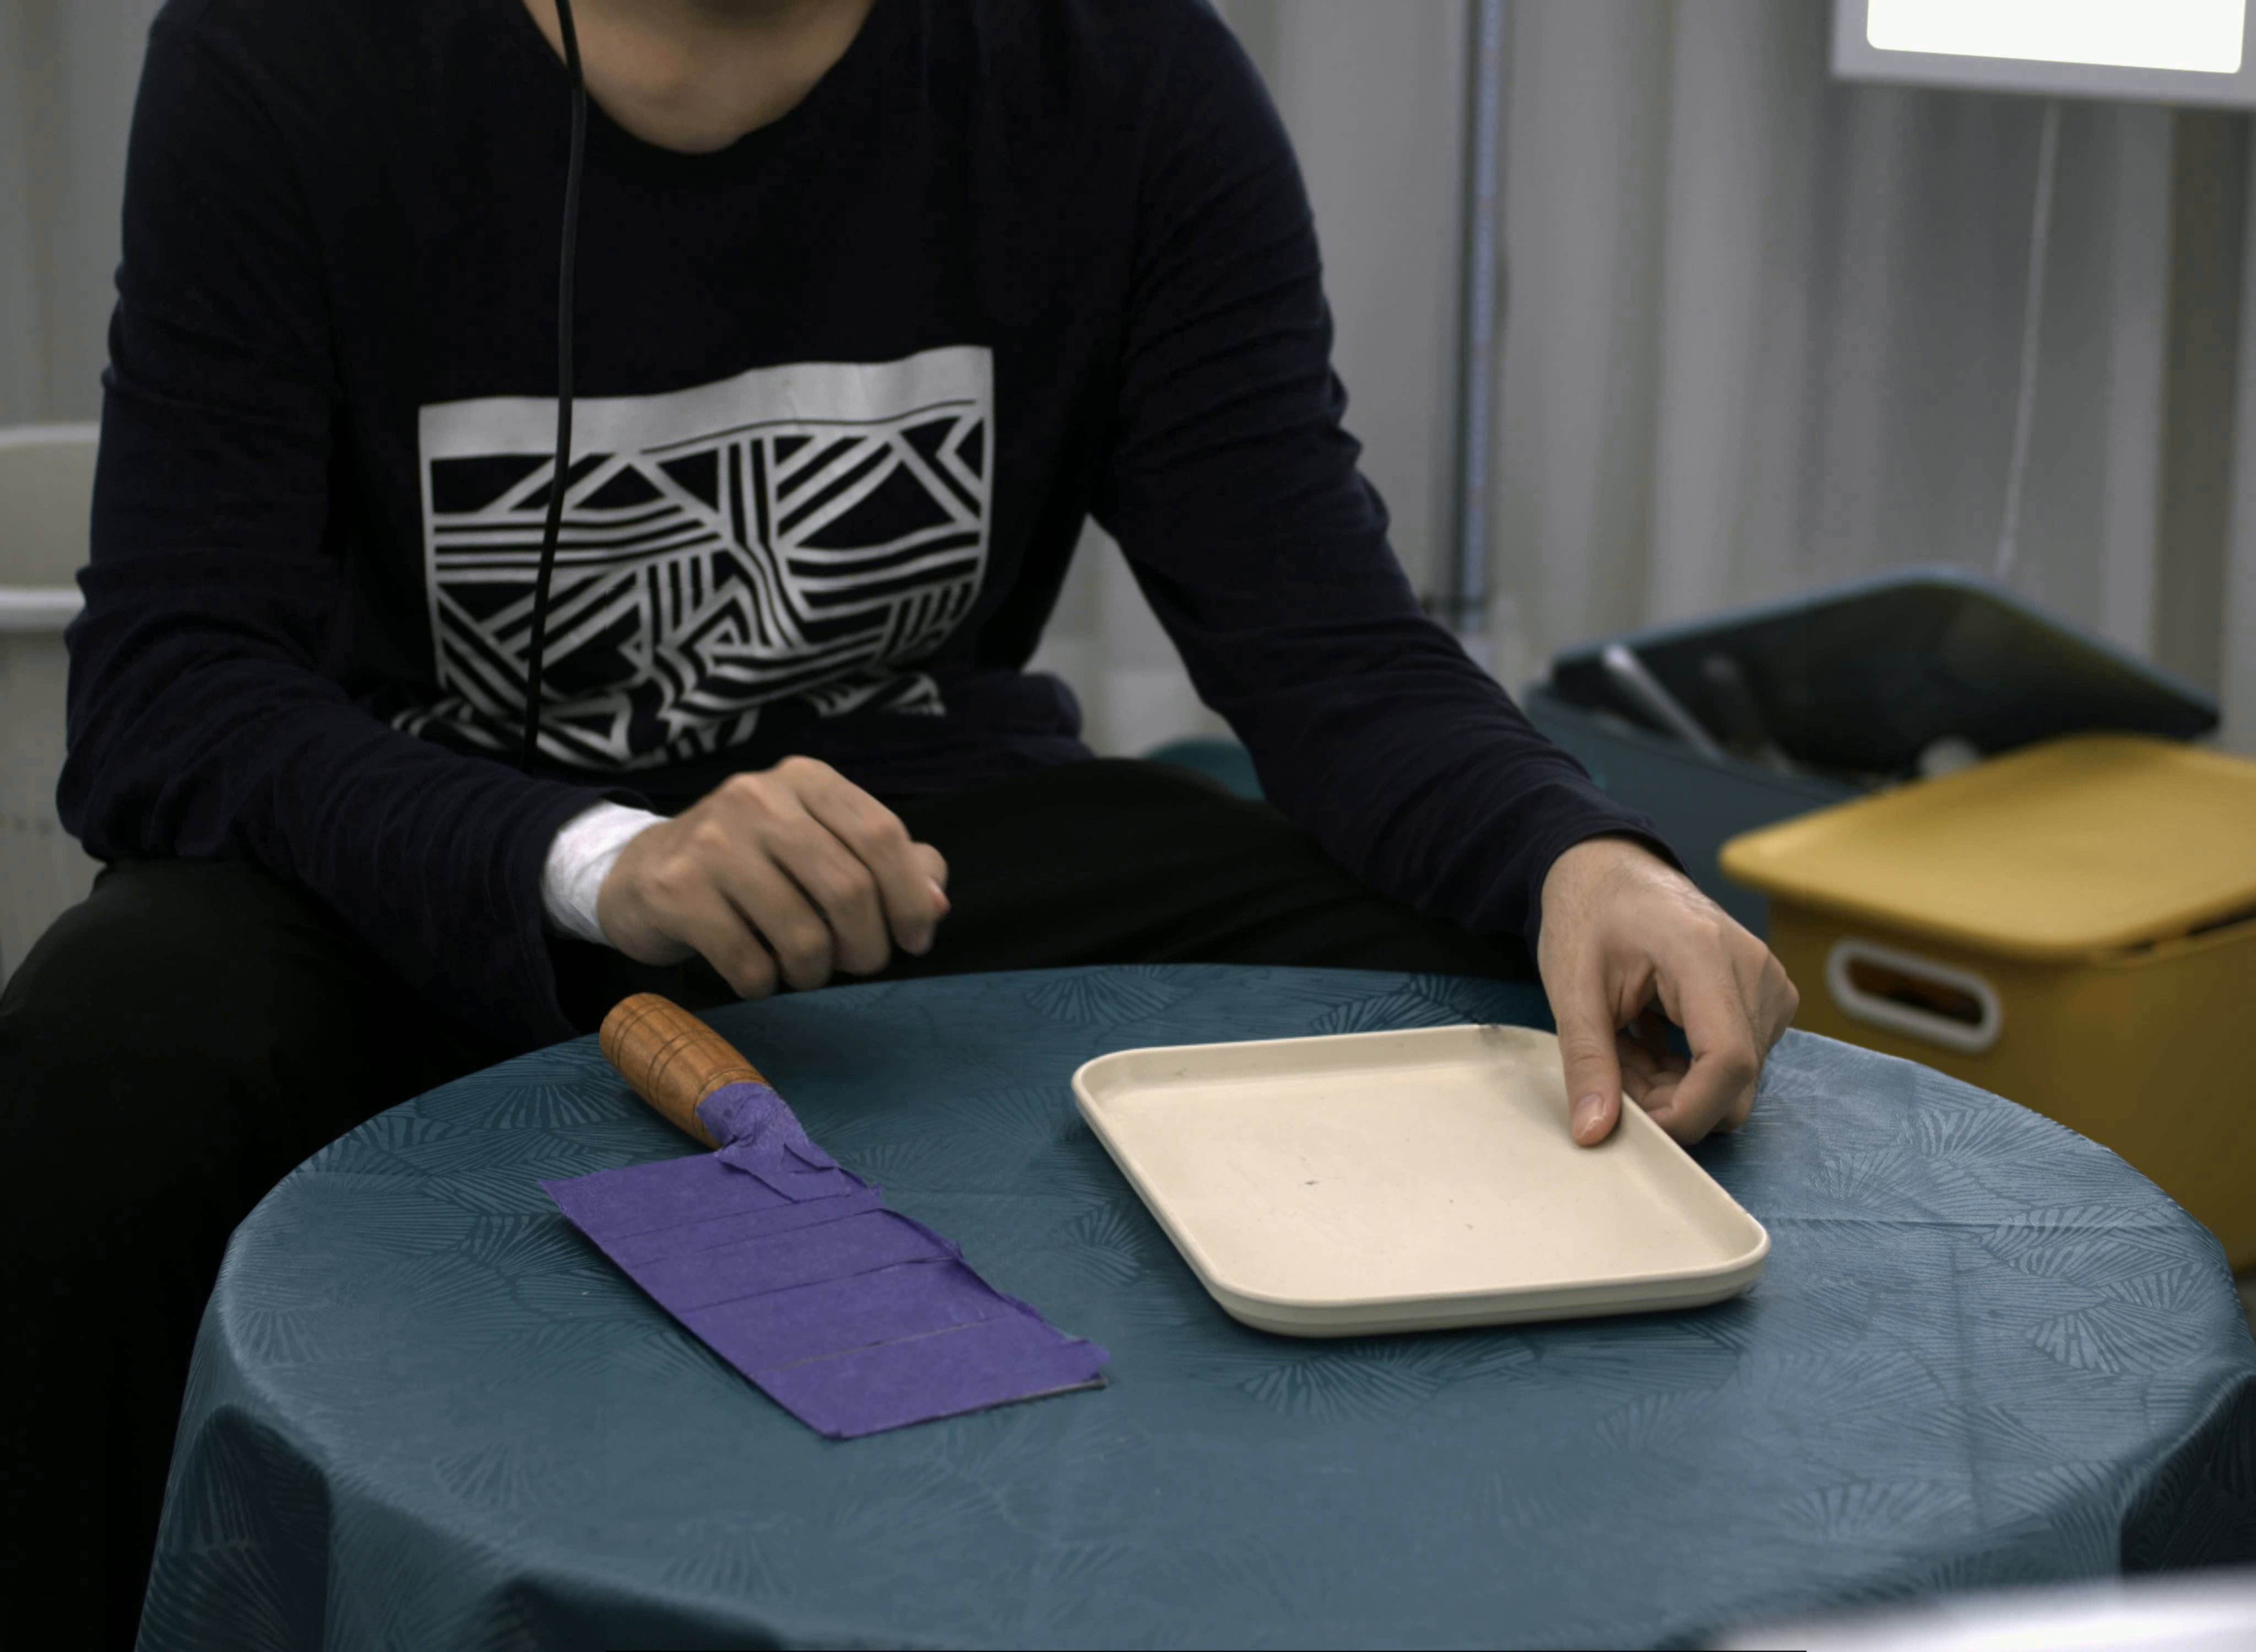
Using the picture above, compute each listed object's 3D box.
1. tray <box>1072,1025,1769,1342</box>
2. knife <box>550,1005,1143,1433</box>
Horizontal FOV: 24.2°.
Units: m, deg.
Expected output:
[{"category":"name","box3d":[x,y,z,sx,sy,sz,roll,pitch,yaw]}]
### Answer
[{"category":"tray","box3d":[0.085,0.108,1.611,0.171,0.017,0.237,-4,16,-12]},{"category":"knife","box3d":[-0.114,0.113,1.568,0.104,0.032,0.311,-8,18,-28]}]
